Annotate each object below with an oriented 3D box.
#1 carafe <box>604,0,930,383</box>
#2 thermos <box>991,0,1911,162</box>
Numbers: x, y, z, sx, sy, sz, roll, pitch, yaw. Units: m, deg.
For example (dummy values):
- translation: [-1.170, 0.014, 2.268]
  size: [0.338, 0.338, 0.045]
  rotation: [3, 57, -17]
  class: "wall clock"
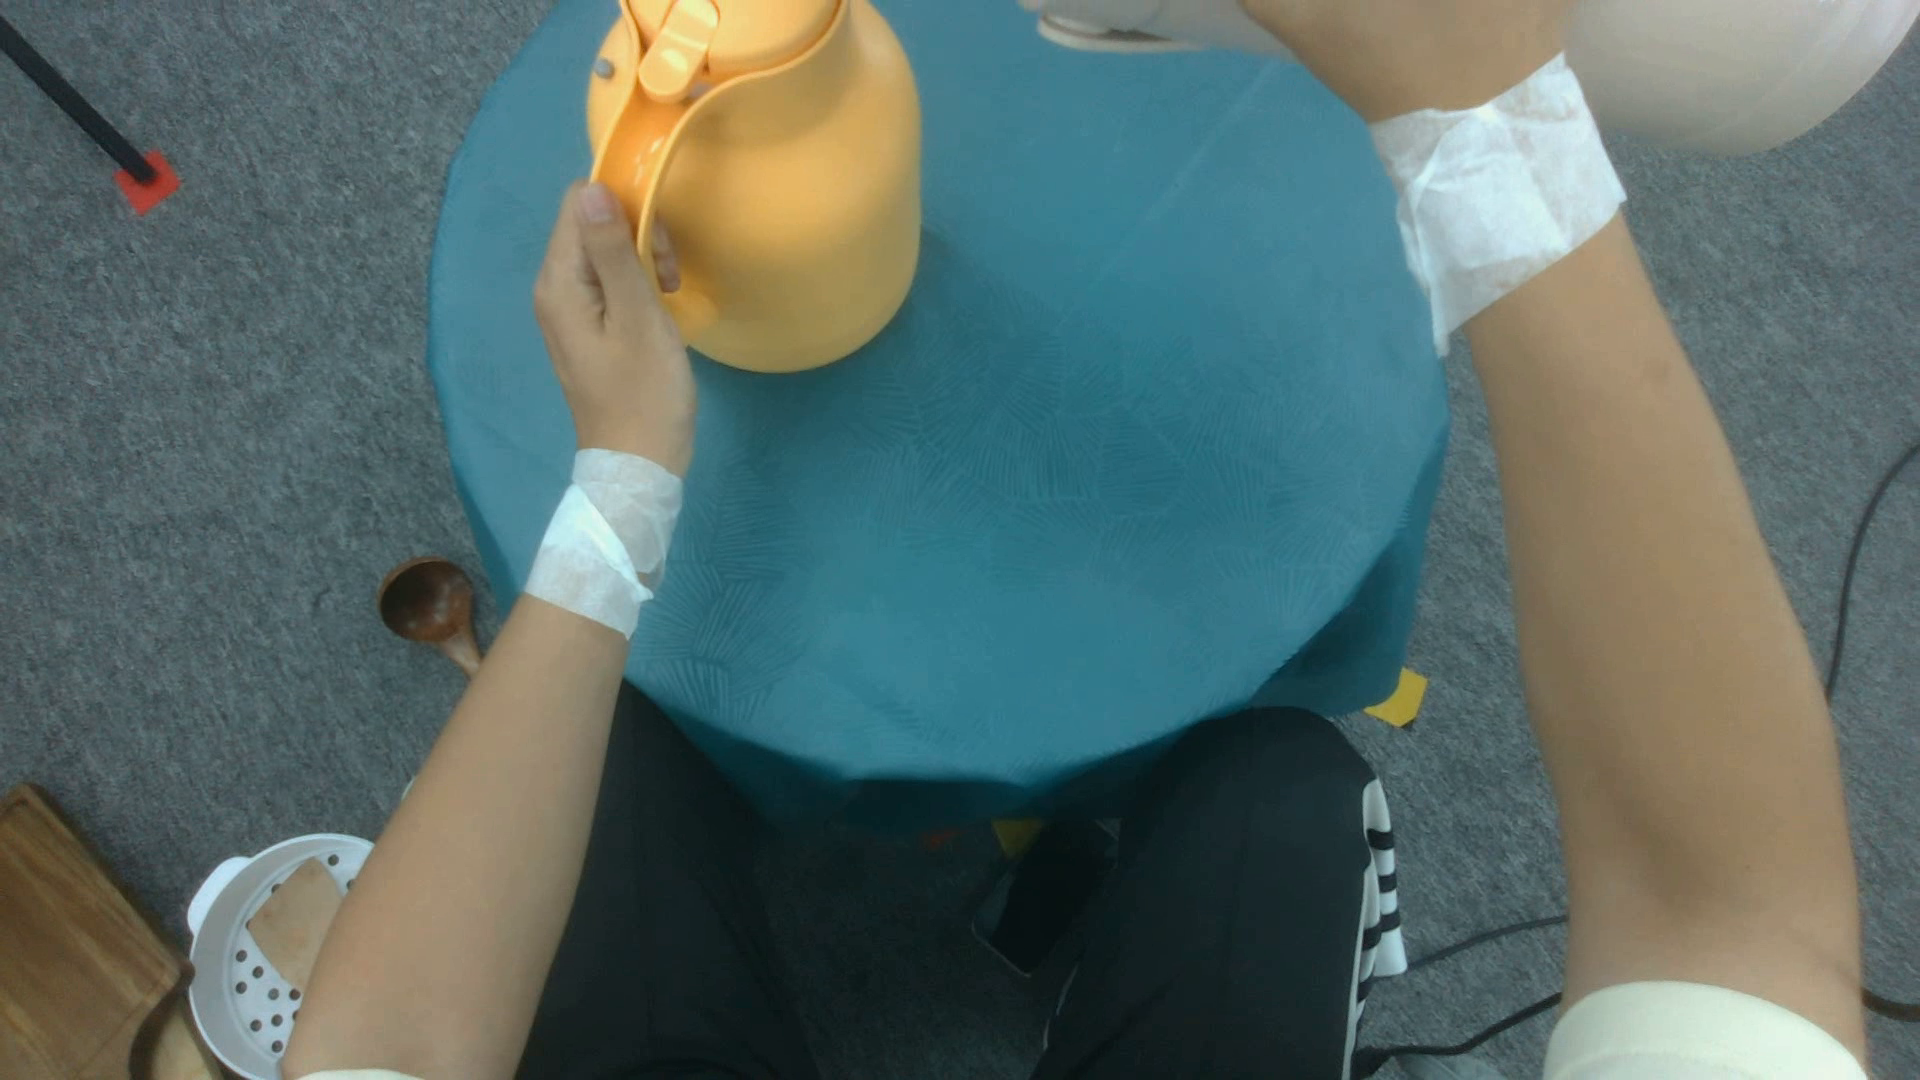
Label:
- translation: [-0.106, -0.182, 0.698]
  size: [0.163, 0.259, 0.203]
  rotation: [26, 72, 8]
  class: "carafe"
- translation: [0.136, -0.241, 0.499]
  size: [0.406, 0.174, 0.208]
  rotation: [7, 37, -12]
  class: "thermos"
